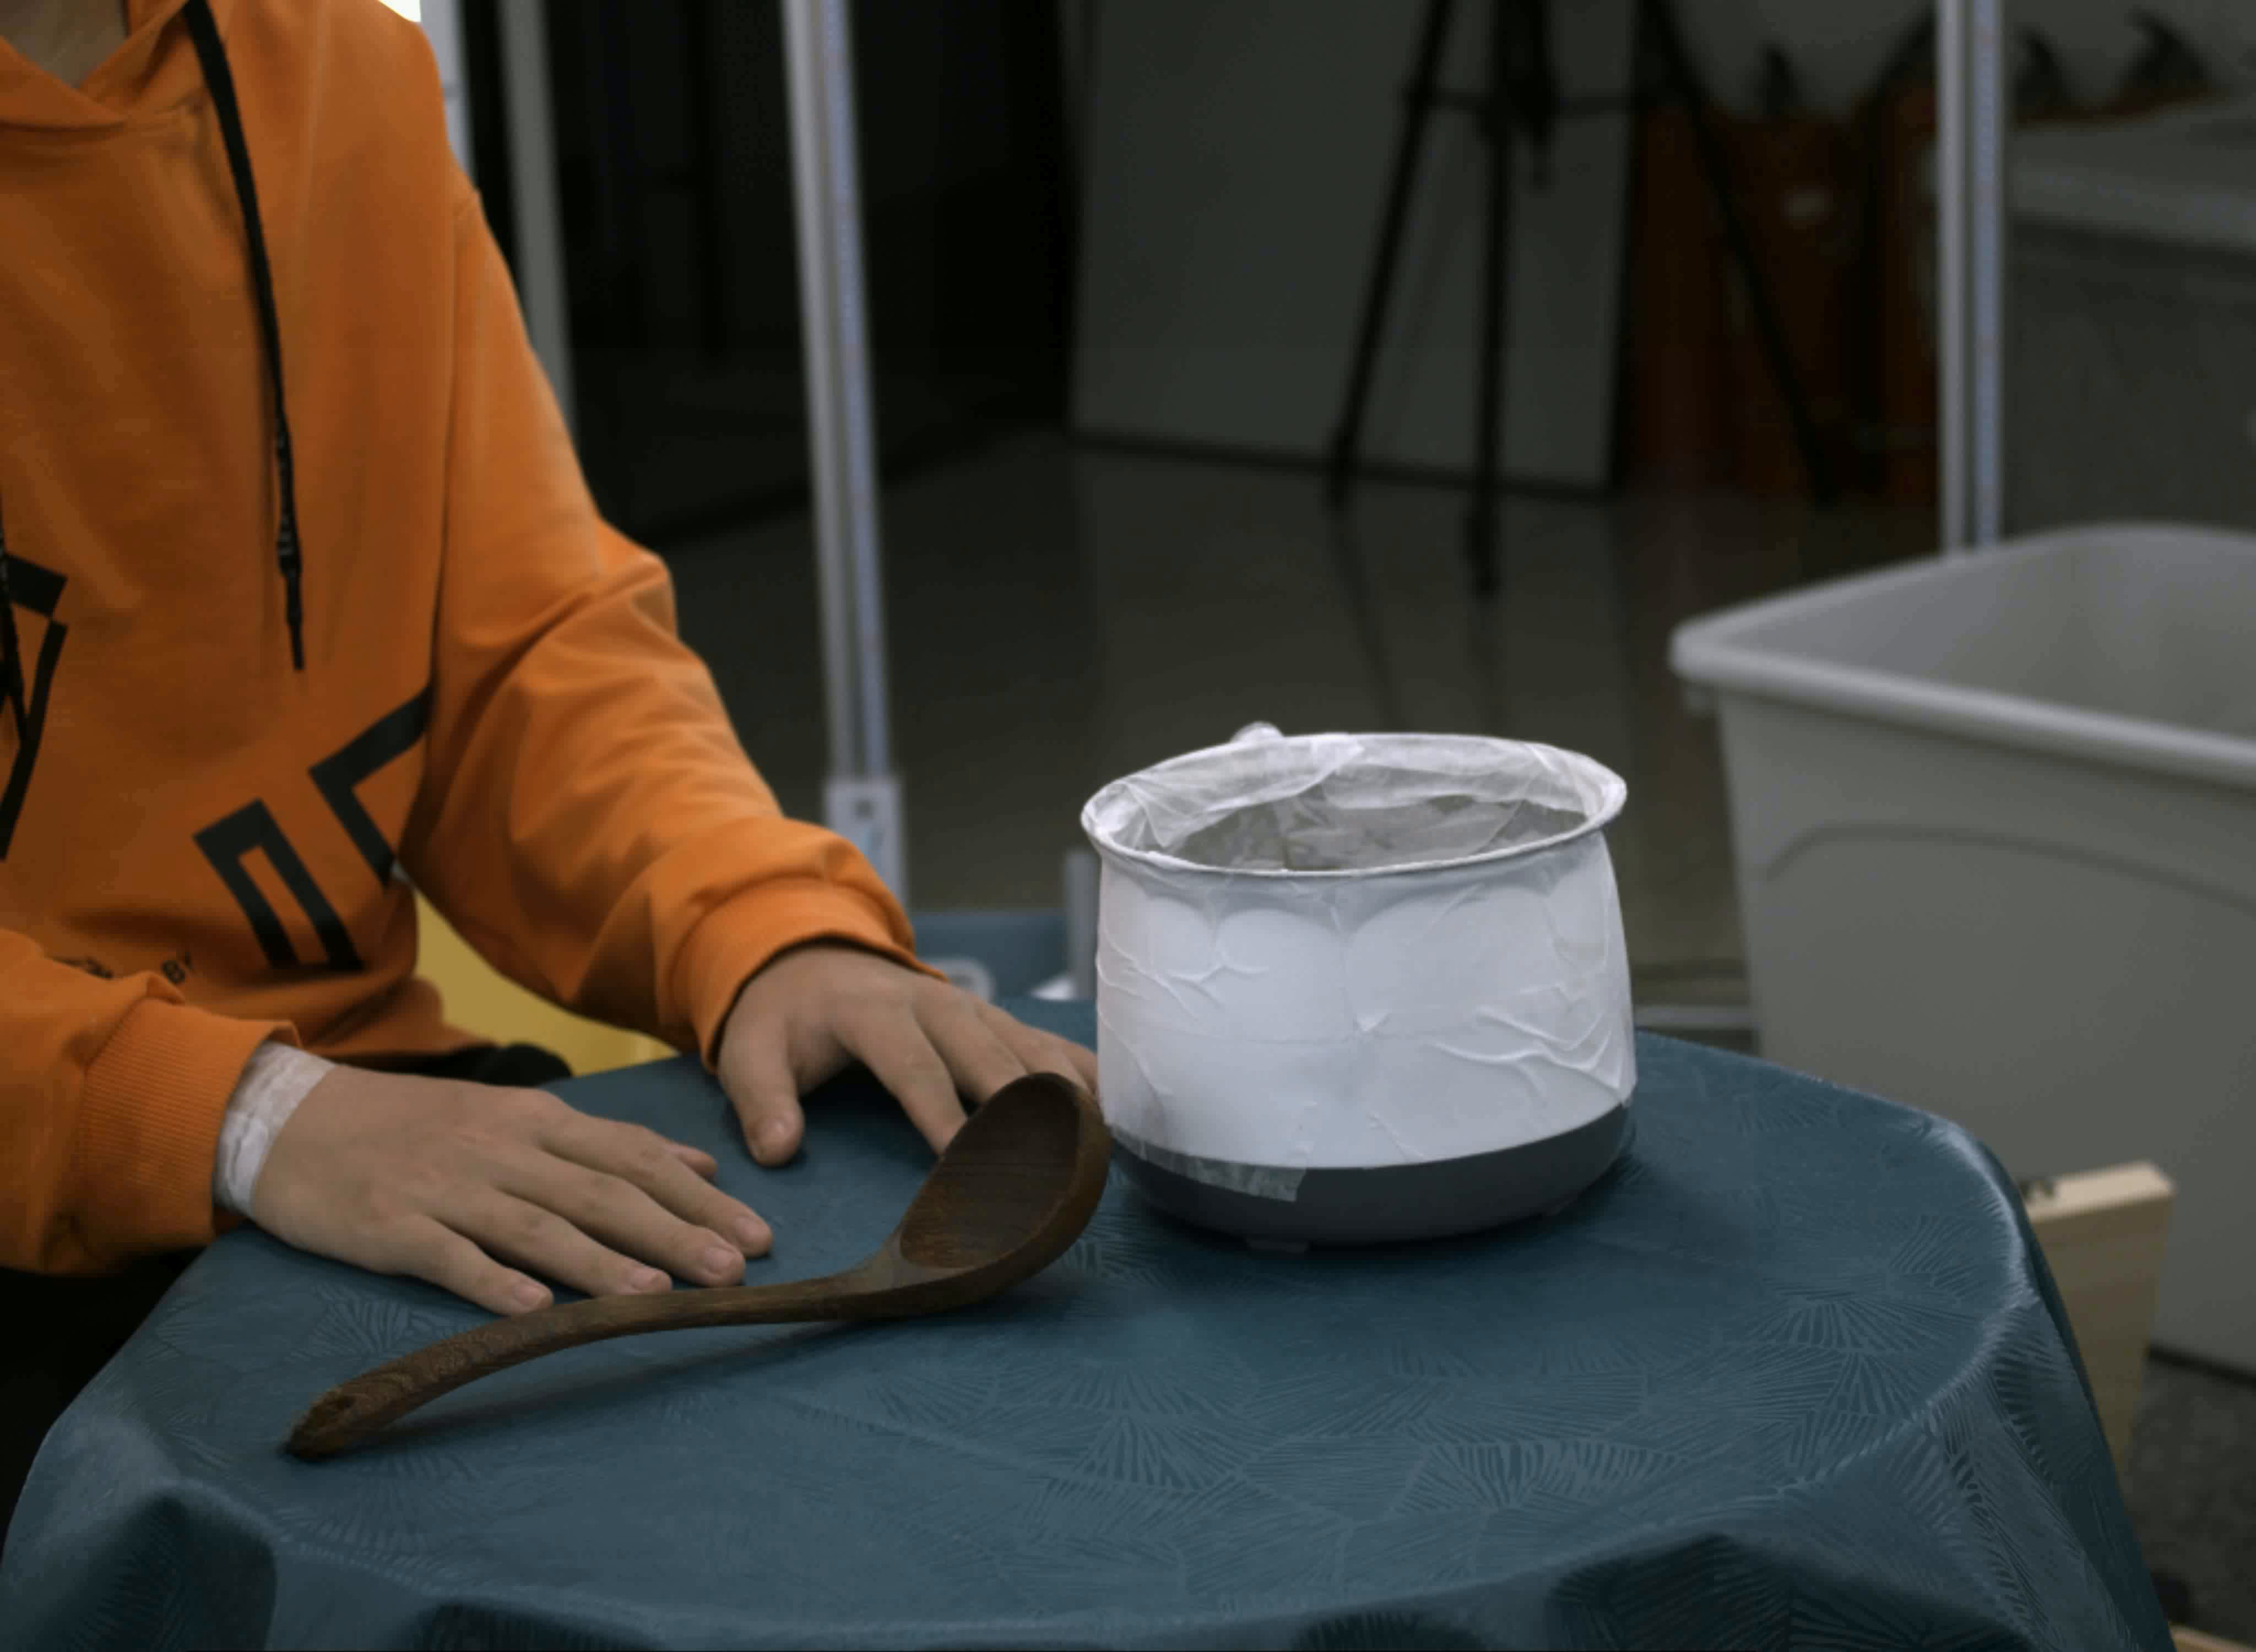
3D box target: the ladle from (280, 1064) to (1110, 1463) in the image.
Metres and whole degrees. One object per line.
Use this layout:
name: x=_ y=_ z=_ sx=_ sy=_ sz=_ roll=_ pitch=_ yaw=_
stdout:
ladle: x=-0.129 y=0.129 z=1.631 sx=0.268 sy=0.072 sz=0.077 roll=-10 pitch=12 yaw=-26

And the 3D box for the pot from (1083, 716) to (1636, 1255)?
pot: x=0.067 y=0.046 z=1.767 sx=0.175 sy=0.138 sz=0.236 roll=-7 pitch=14 yaw=-16
